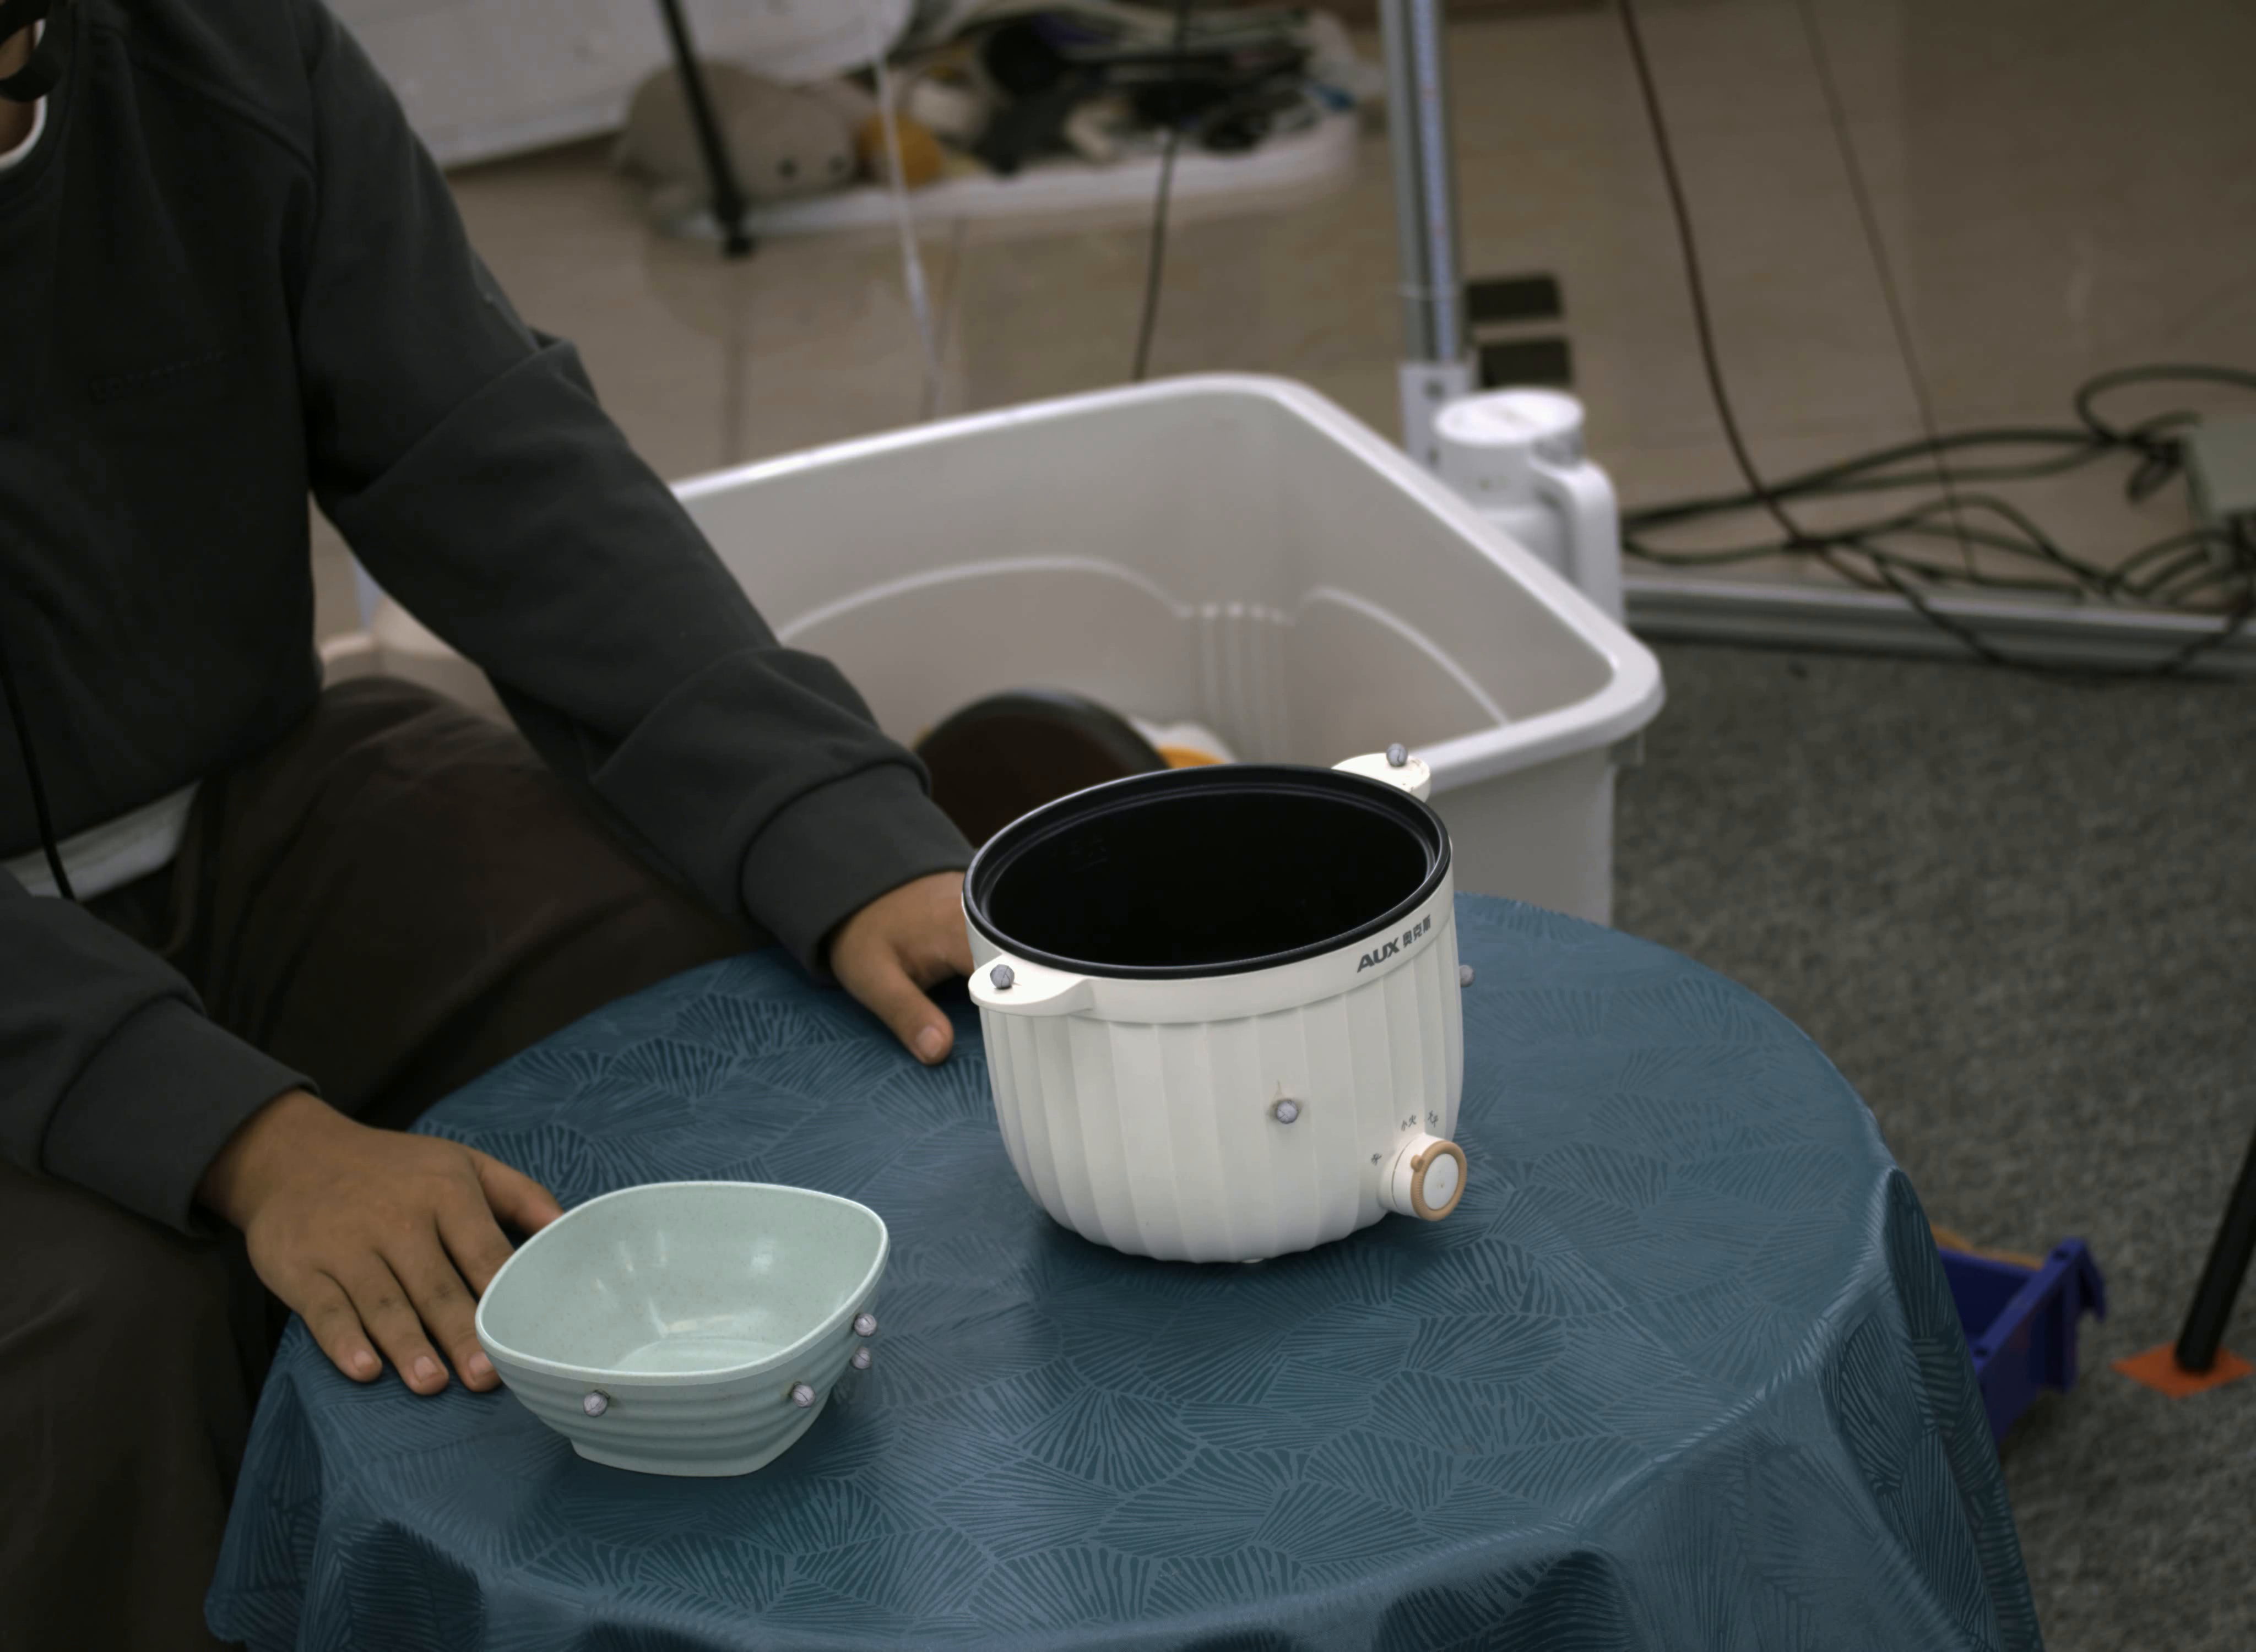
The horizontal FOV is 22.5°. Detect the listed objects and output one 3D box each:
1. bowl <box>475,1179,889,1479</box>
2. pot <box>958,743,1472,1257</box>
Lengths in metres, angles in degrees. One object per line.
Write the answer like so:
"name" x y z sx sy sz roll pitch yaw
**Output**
"bowl" -0.155 0.184 2.019 0.151 0.059 0.149 -4 26 2
"pot" 0.040 0.072 2.113 0.189 0.145 0.238 11 32 40
